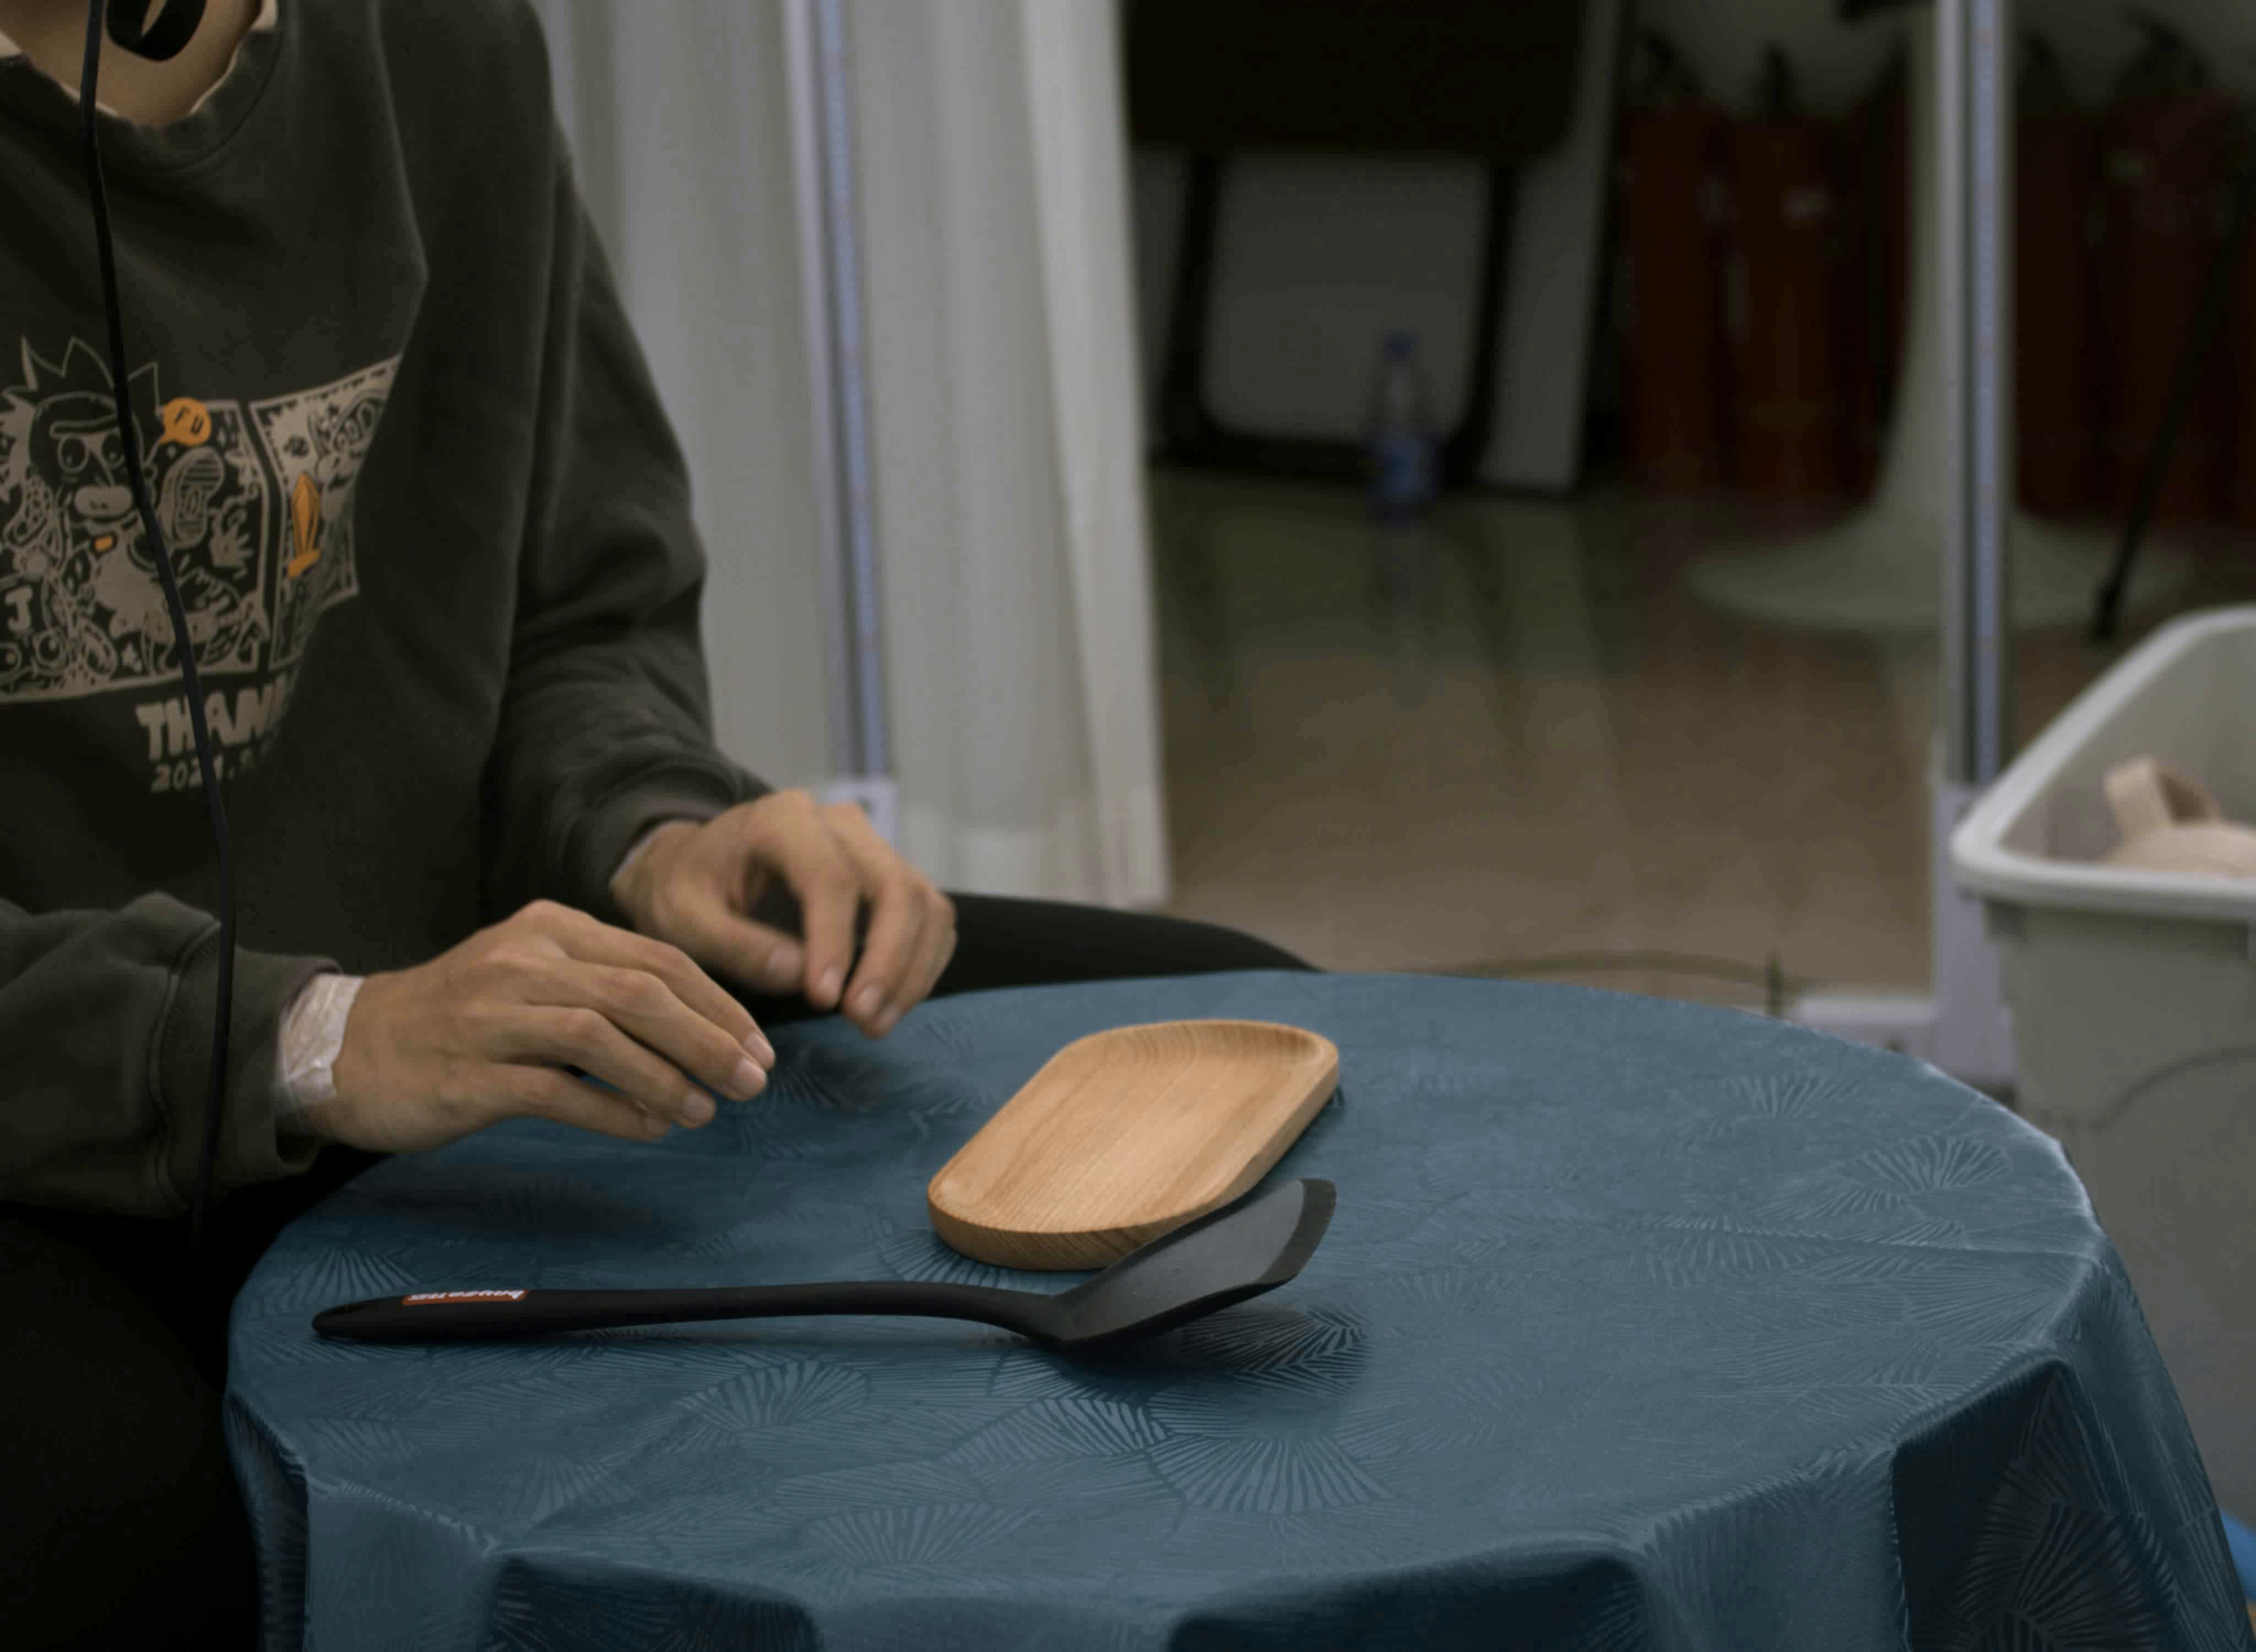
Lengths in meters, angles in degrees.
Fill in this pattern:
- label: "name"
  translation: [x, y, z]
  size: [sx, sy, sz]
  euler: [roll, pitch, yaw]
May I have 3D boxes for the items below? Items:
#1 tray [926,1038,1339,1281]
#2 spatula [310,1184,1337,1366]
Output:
- label: "tray"
  translation: [0.004, 0.109, 1.795]
  size: [0.101, 0.020, 0.229]
  euler: [0, 15, 18]
- label: "spatula"
  translation: [-0.096, 0.141, 1.647]
  size: [0.324, 0.041, 0.099]
  euler: [-1, 13, 12]
